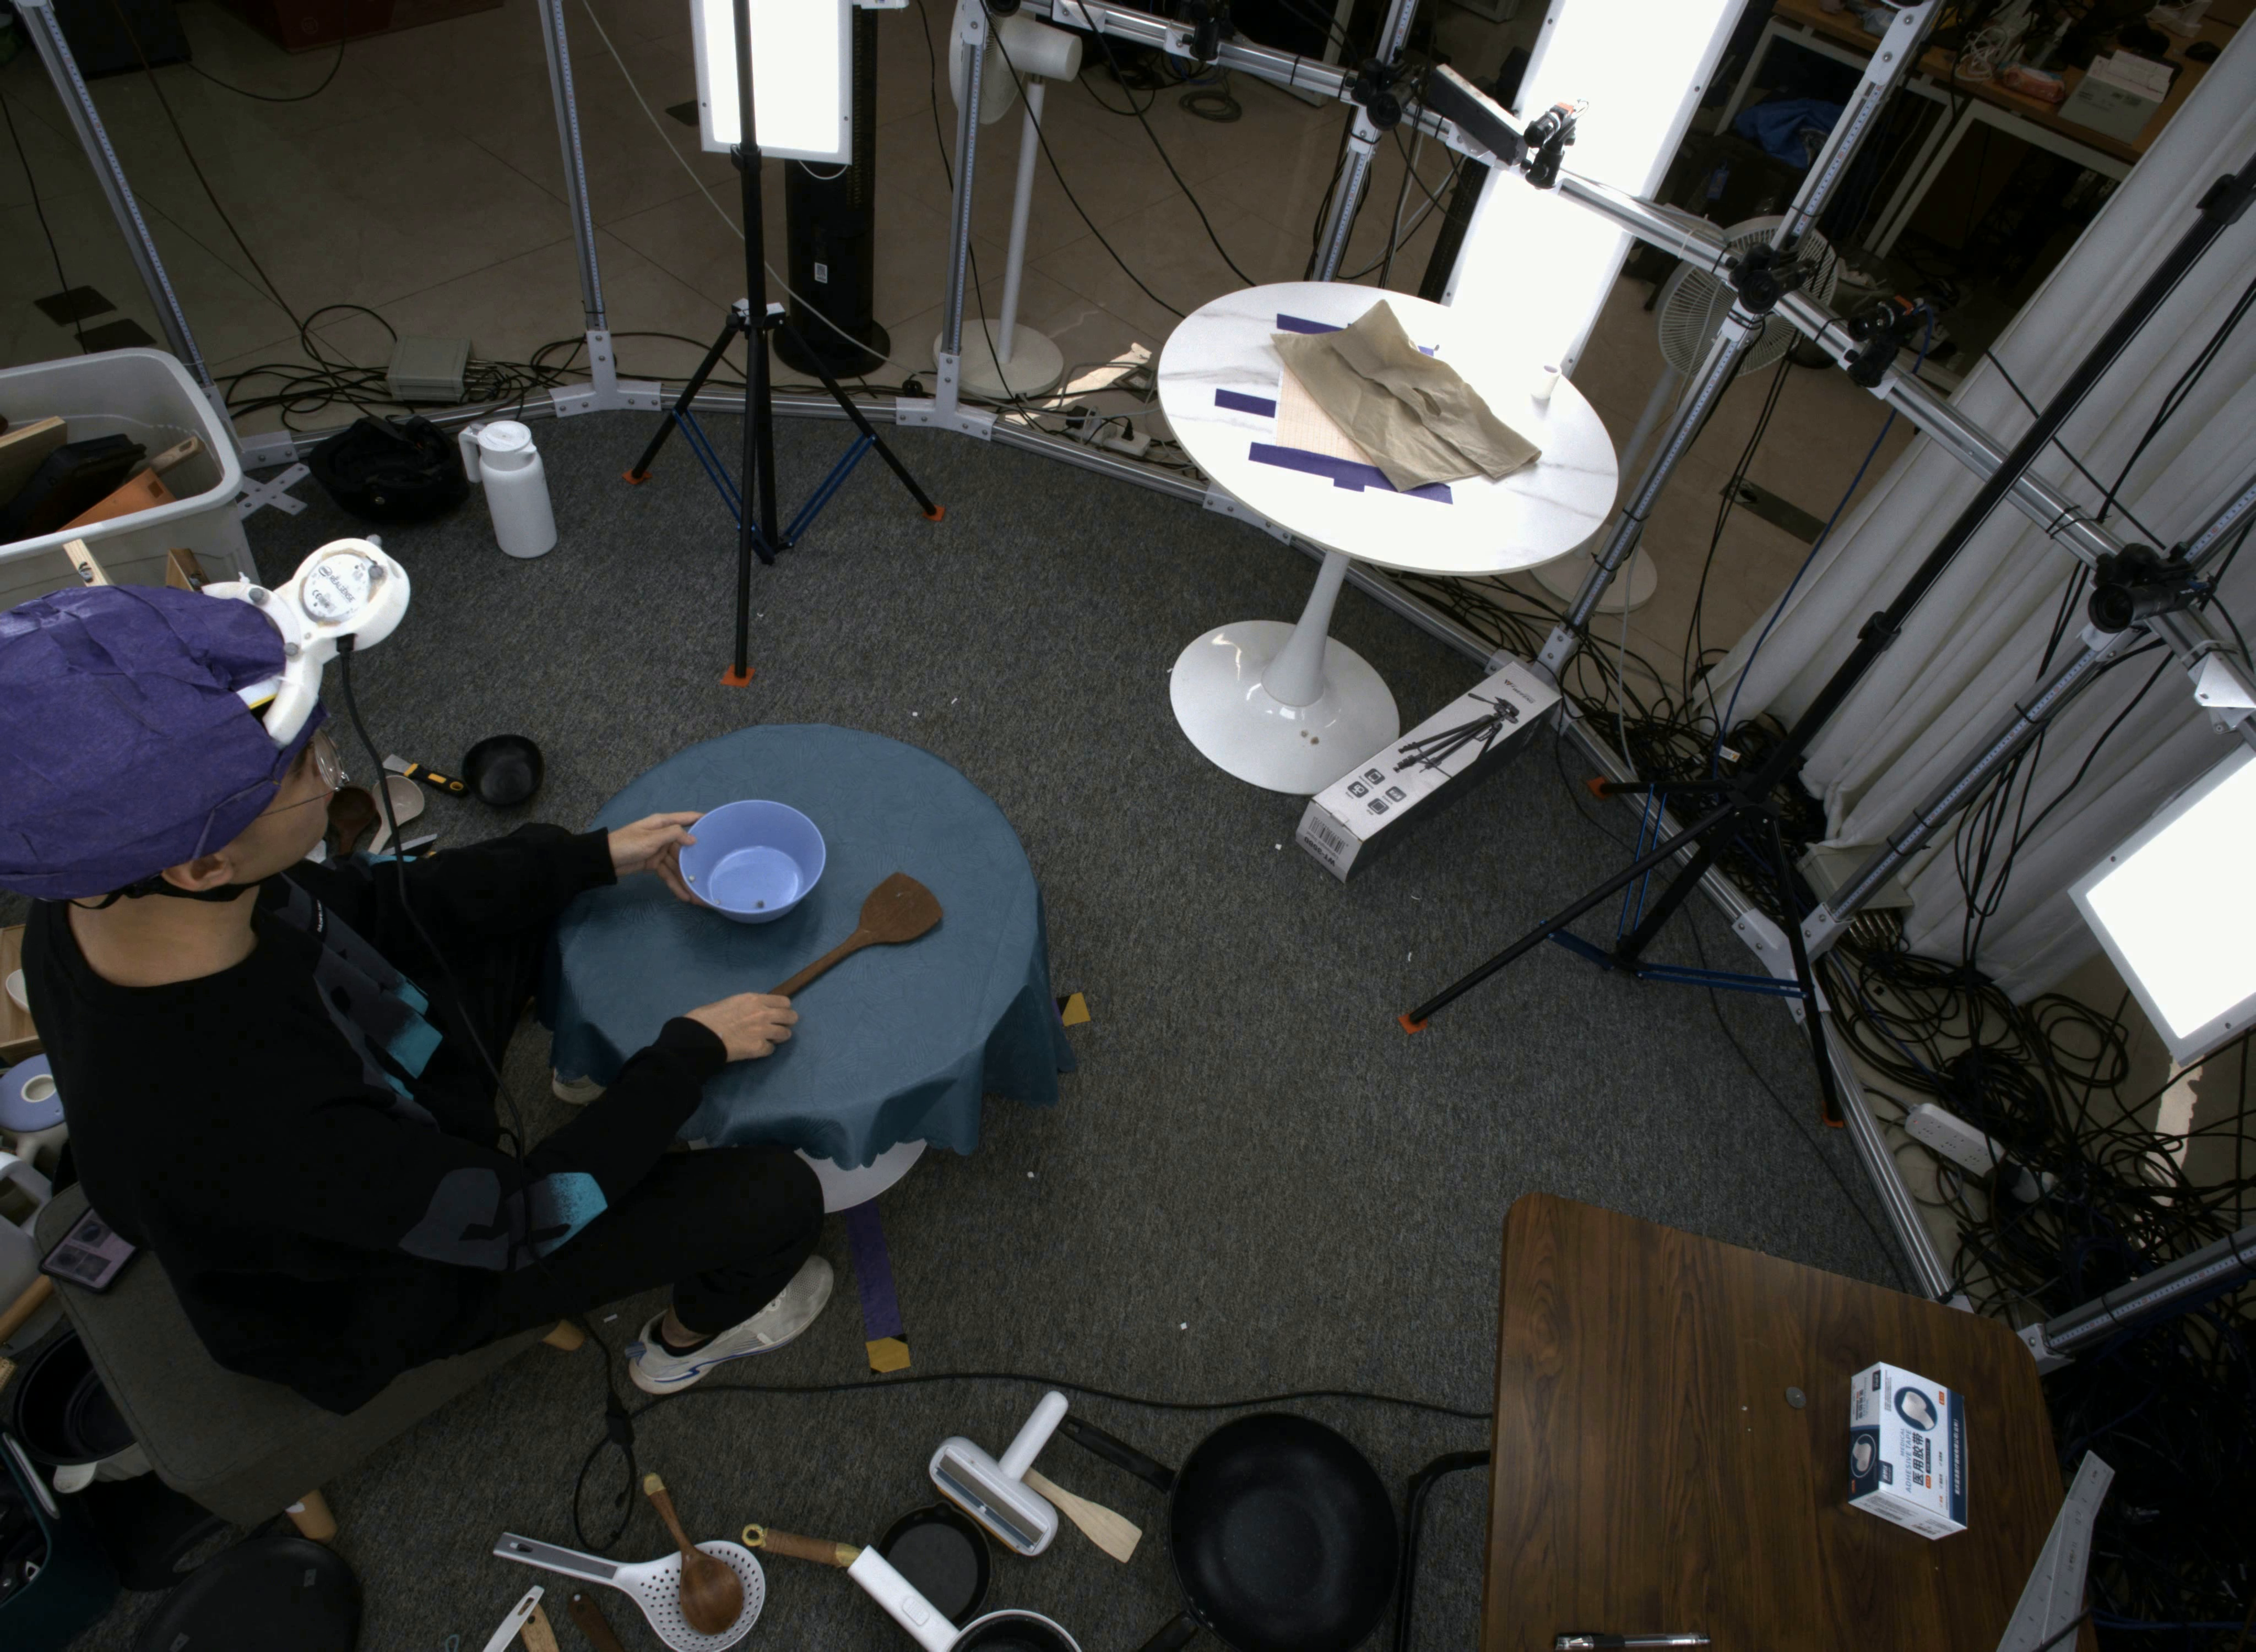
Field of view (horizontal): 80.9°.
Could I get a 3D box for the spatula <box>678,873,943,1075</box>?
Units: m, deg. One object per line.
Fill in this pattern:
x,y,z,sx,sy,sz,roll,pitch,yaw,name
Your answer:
-0.391,0.181,1.594,0.094,0.016,0.387,41,55,17,spatula

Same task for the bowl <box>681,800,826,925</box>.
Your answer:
-0.466,0.055,1.622,0.175,0.072,0.173,7,53,-7,bowl
